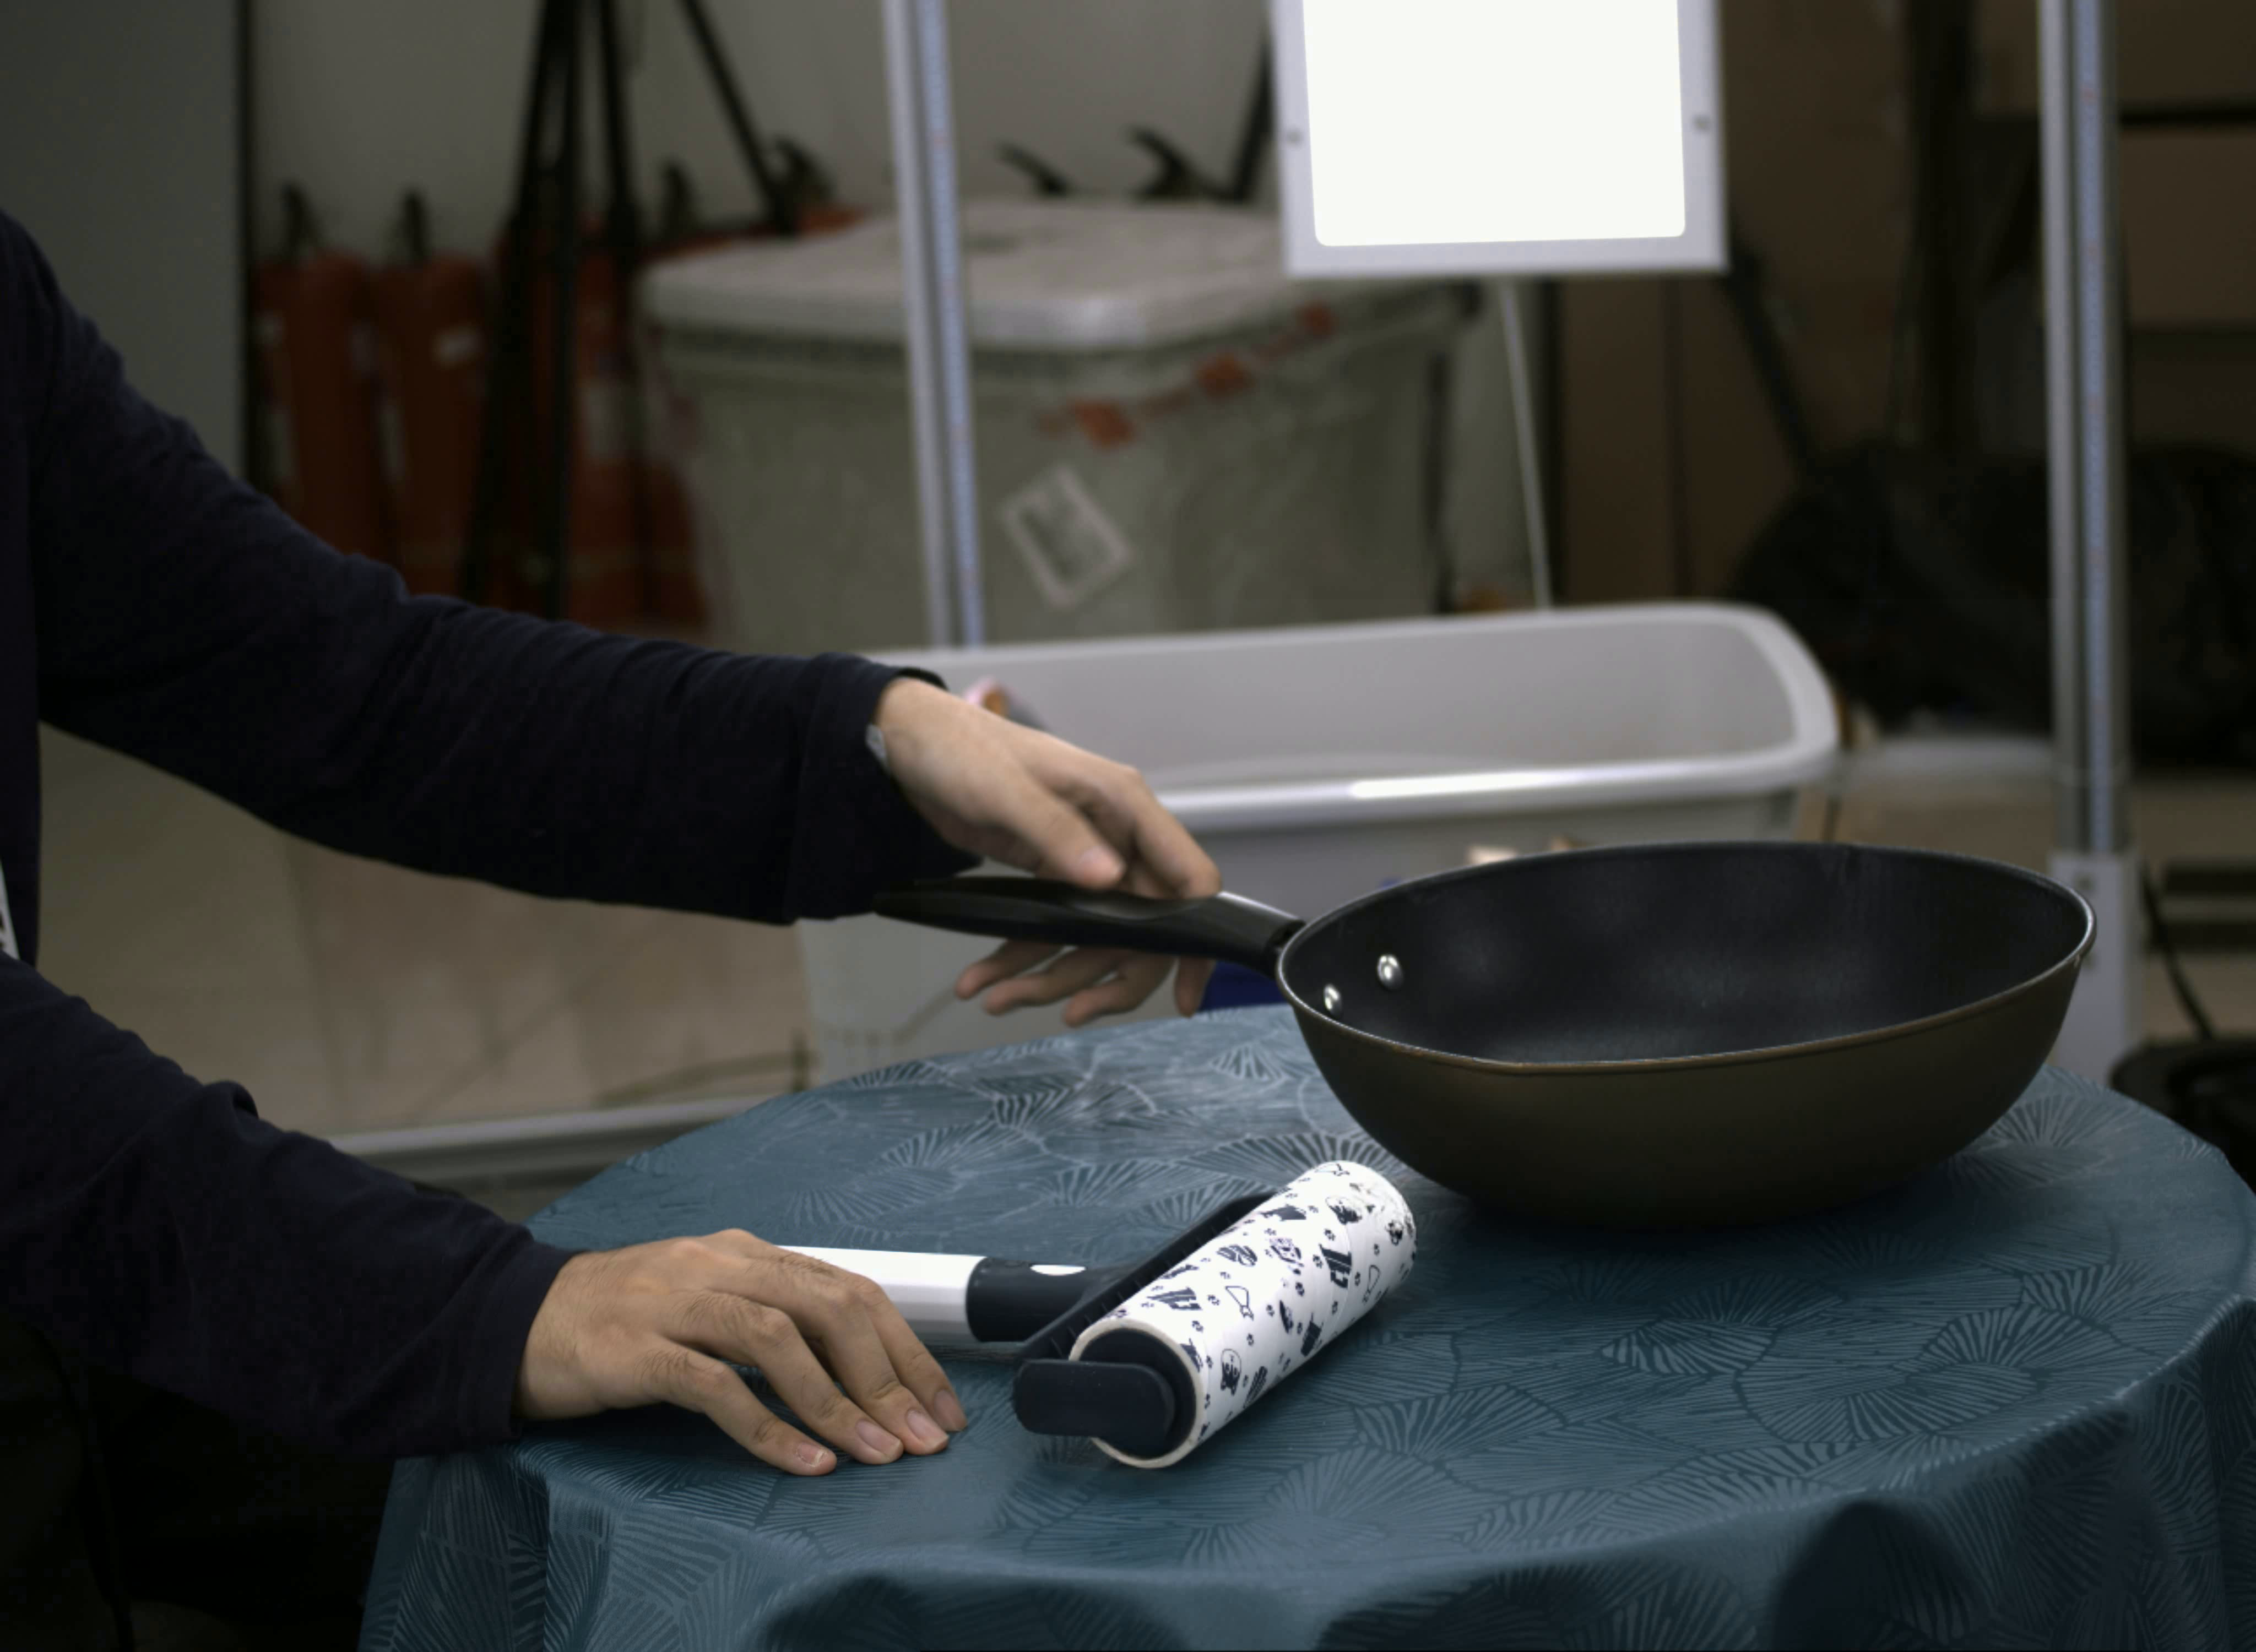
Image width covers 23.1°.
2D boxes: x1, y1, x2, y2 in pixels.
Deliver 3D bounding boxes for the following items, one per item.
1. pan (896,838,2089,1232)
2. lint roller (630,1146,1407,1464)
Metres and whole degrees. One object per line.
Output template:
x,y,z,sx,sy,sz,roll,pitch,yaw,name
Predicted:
0.114,0.071,1.914,0.472,0.087,0.281,3,16,33,pan
-0.054,0.150,1.746,0.251,0.050,0.172,-2,15,29,lint roller
